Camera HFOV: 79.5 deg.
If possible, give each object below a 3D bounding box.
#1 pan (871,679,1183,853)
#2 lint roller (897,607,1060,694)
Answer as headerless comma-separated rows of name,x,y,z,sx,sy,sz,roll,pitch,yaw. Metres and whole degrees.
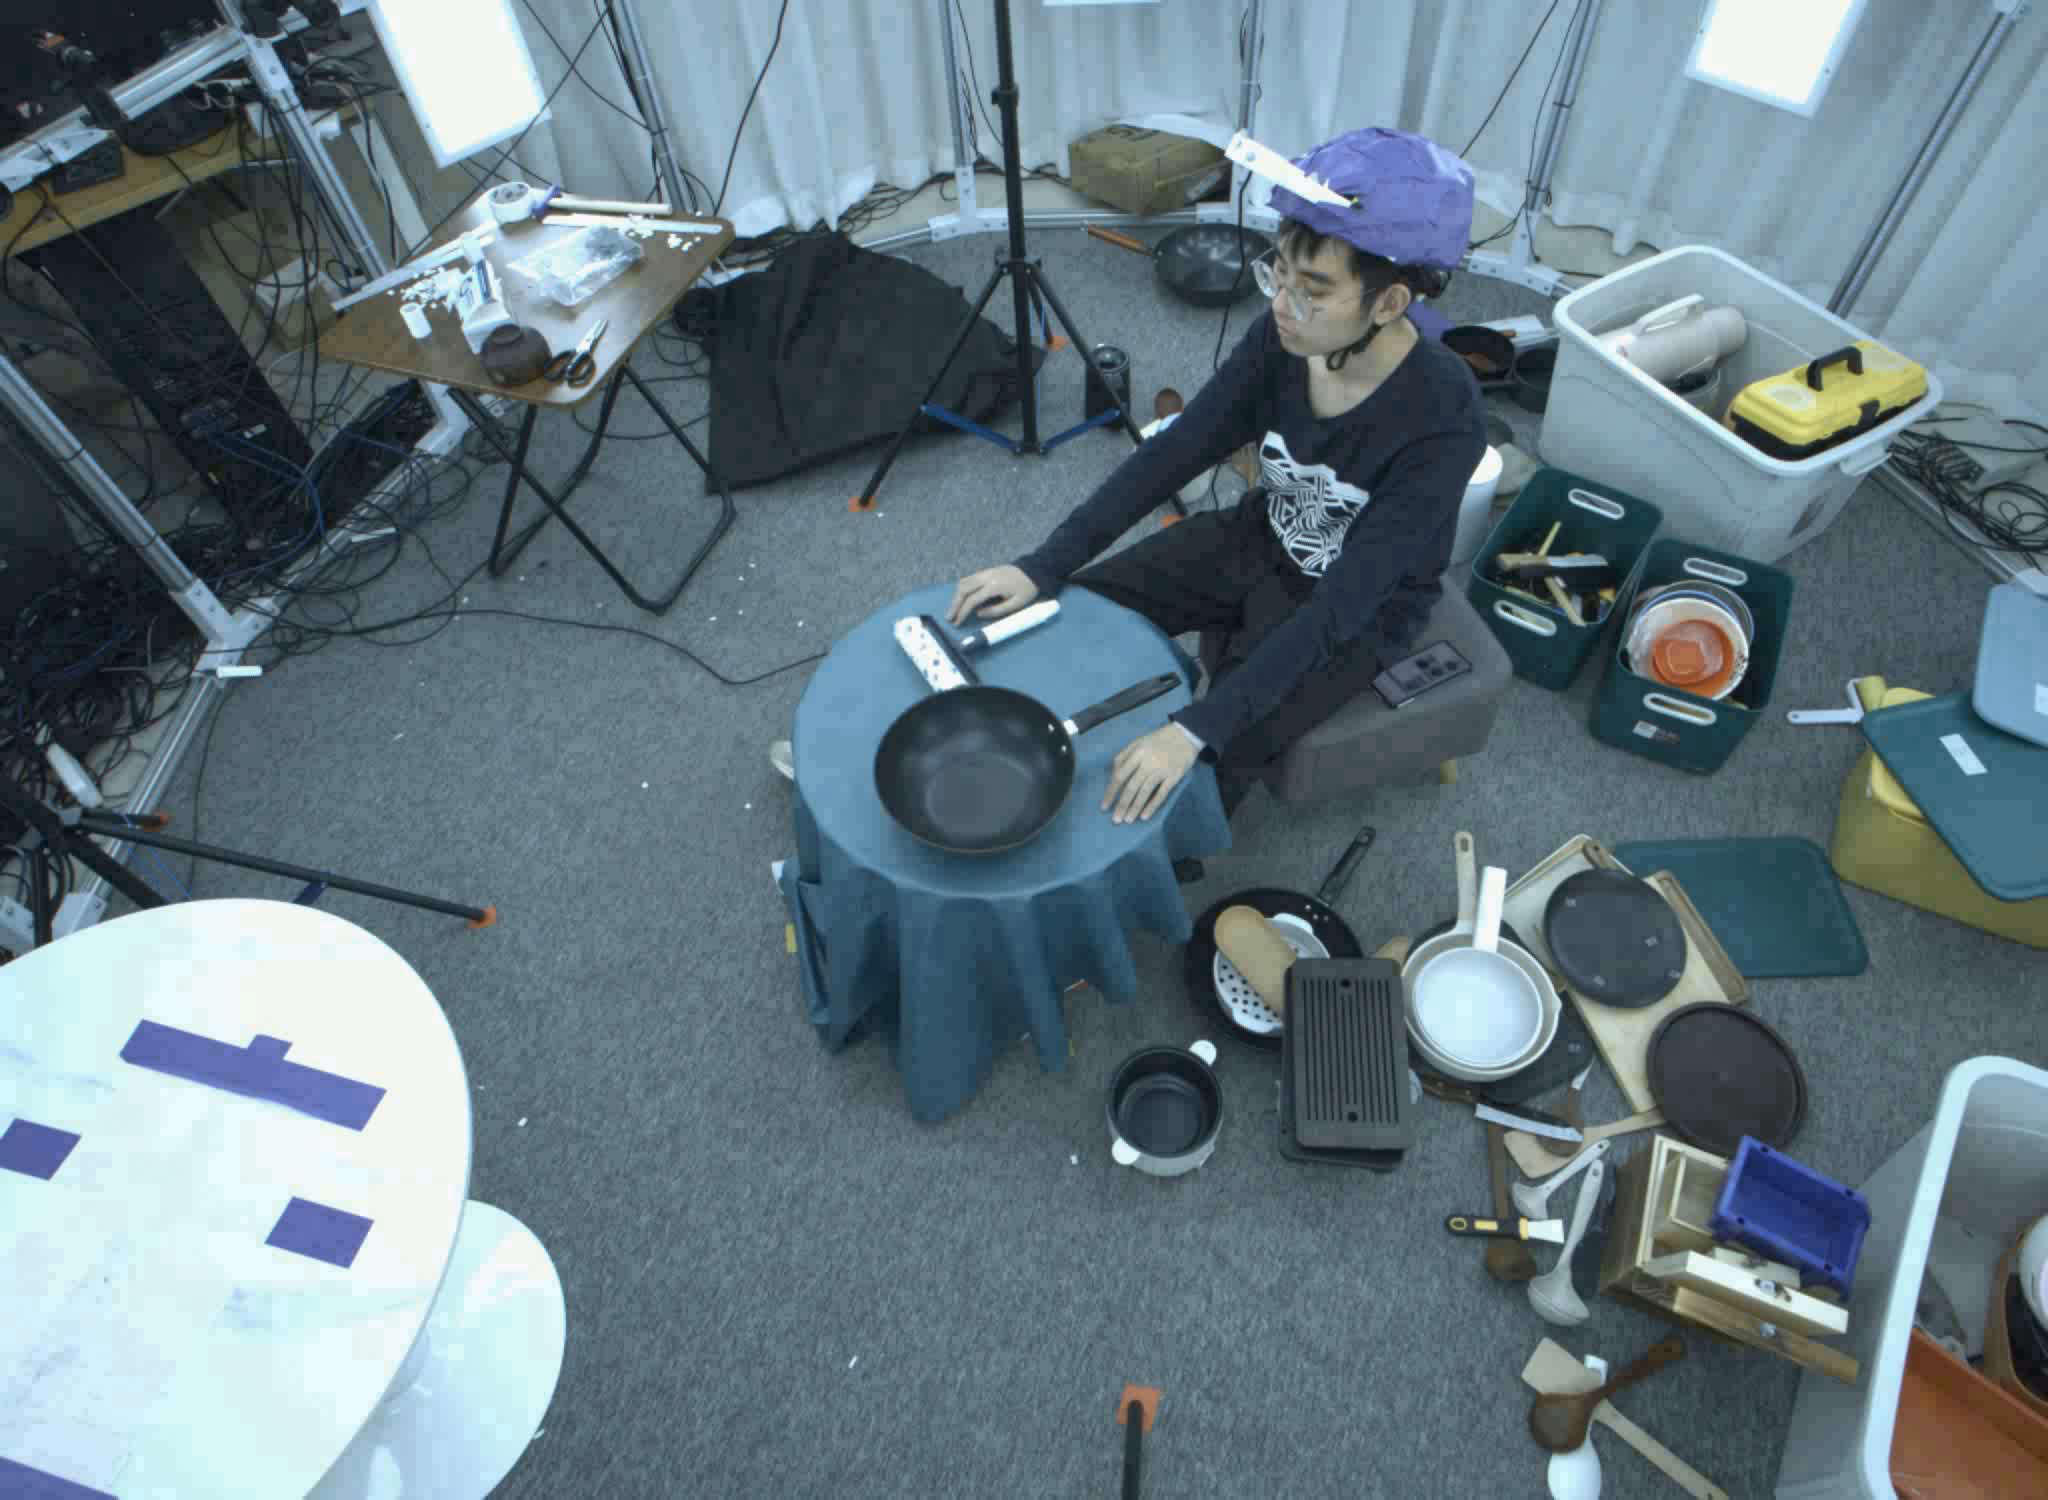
pan,0.013,0.004,1.740,0.467,0.088,0.283,-22,56,-15
lint roller,-0.054,-0.178,1.900,0.249,0.051,0.173,-25,56,-20
